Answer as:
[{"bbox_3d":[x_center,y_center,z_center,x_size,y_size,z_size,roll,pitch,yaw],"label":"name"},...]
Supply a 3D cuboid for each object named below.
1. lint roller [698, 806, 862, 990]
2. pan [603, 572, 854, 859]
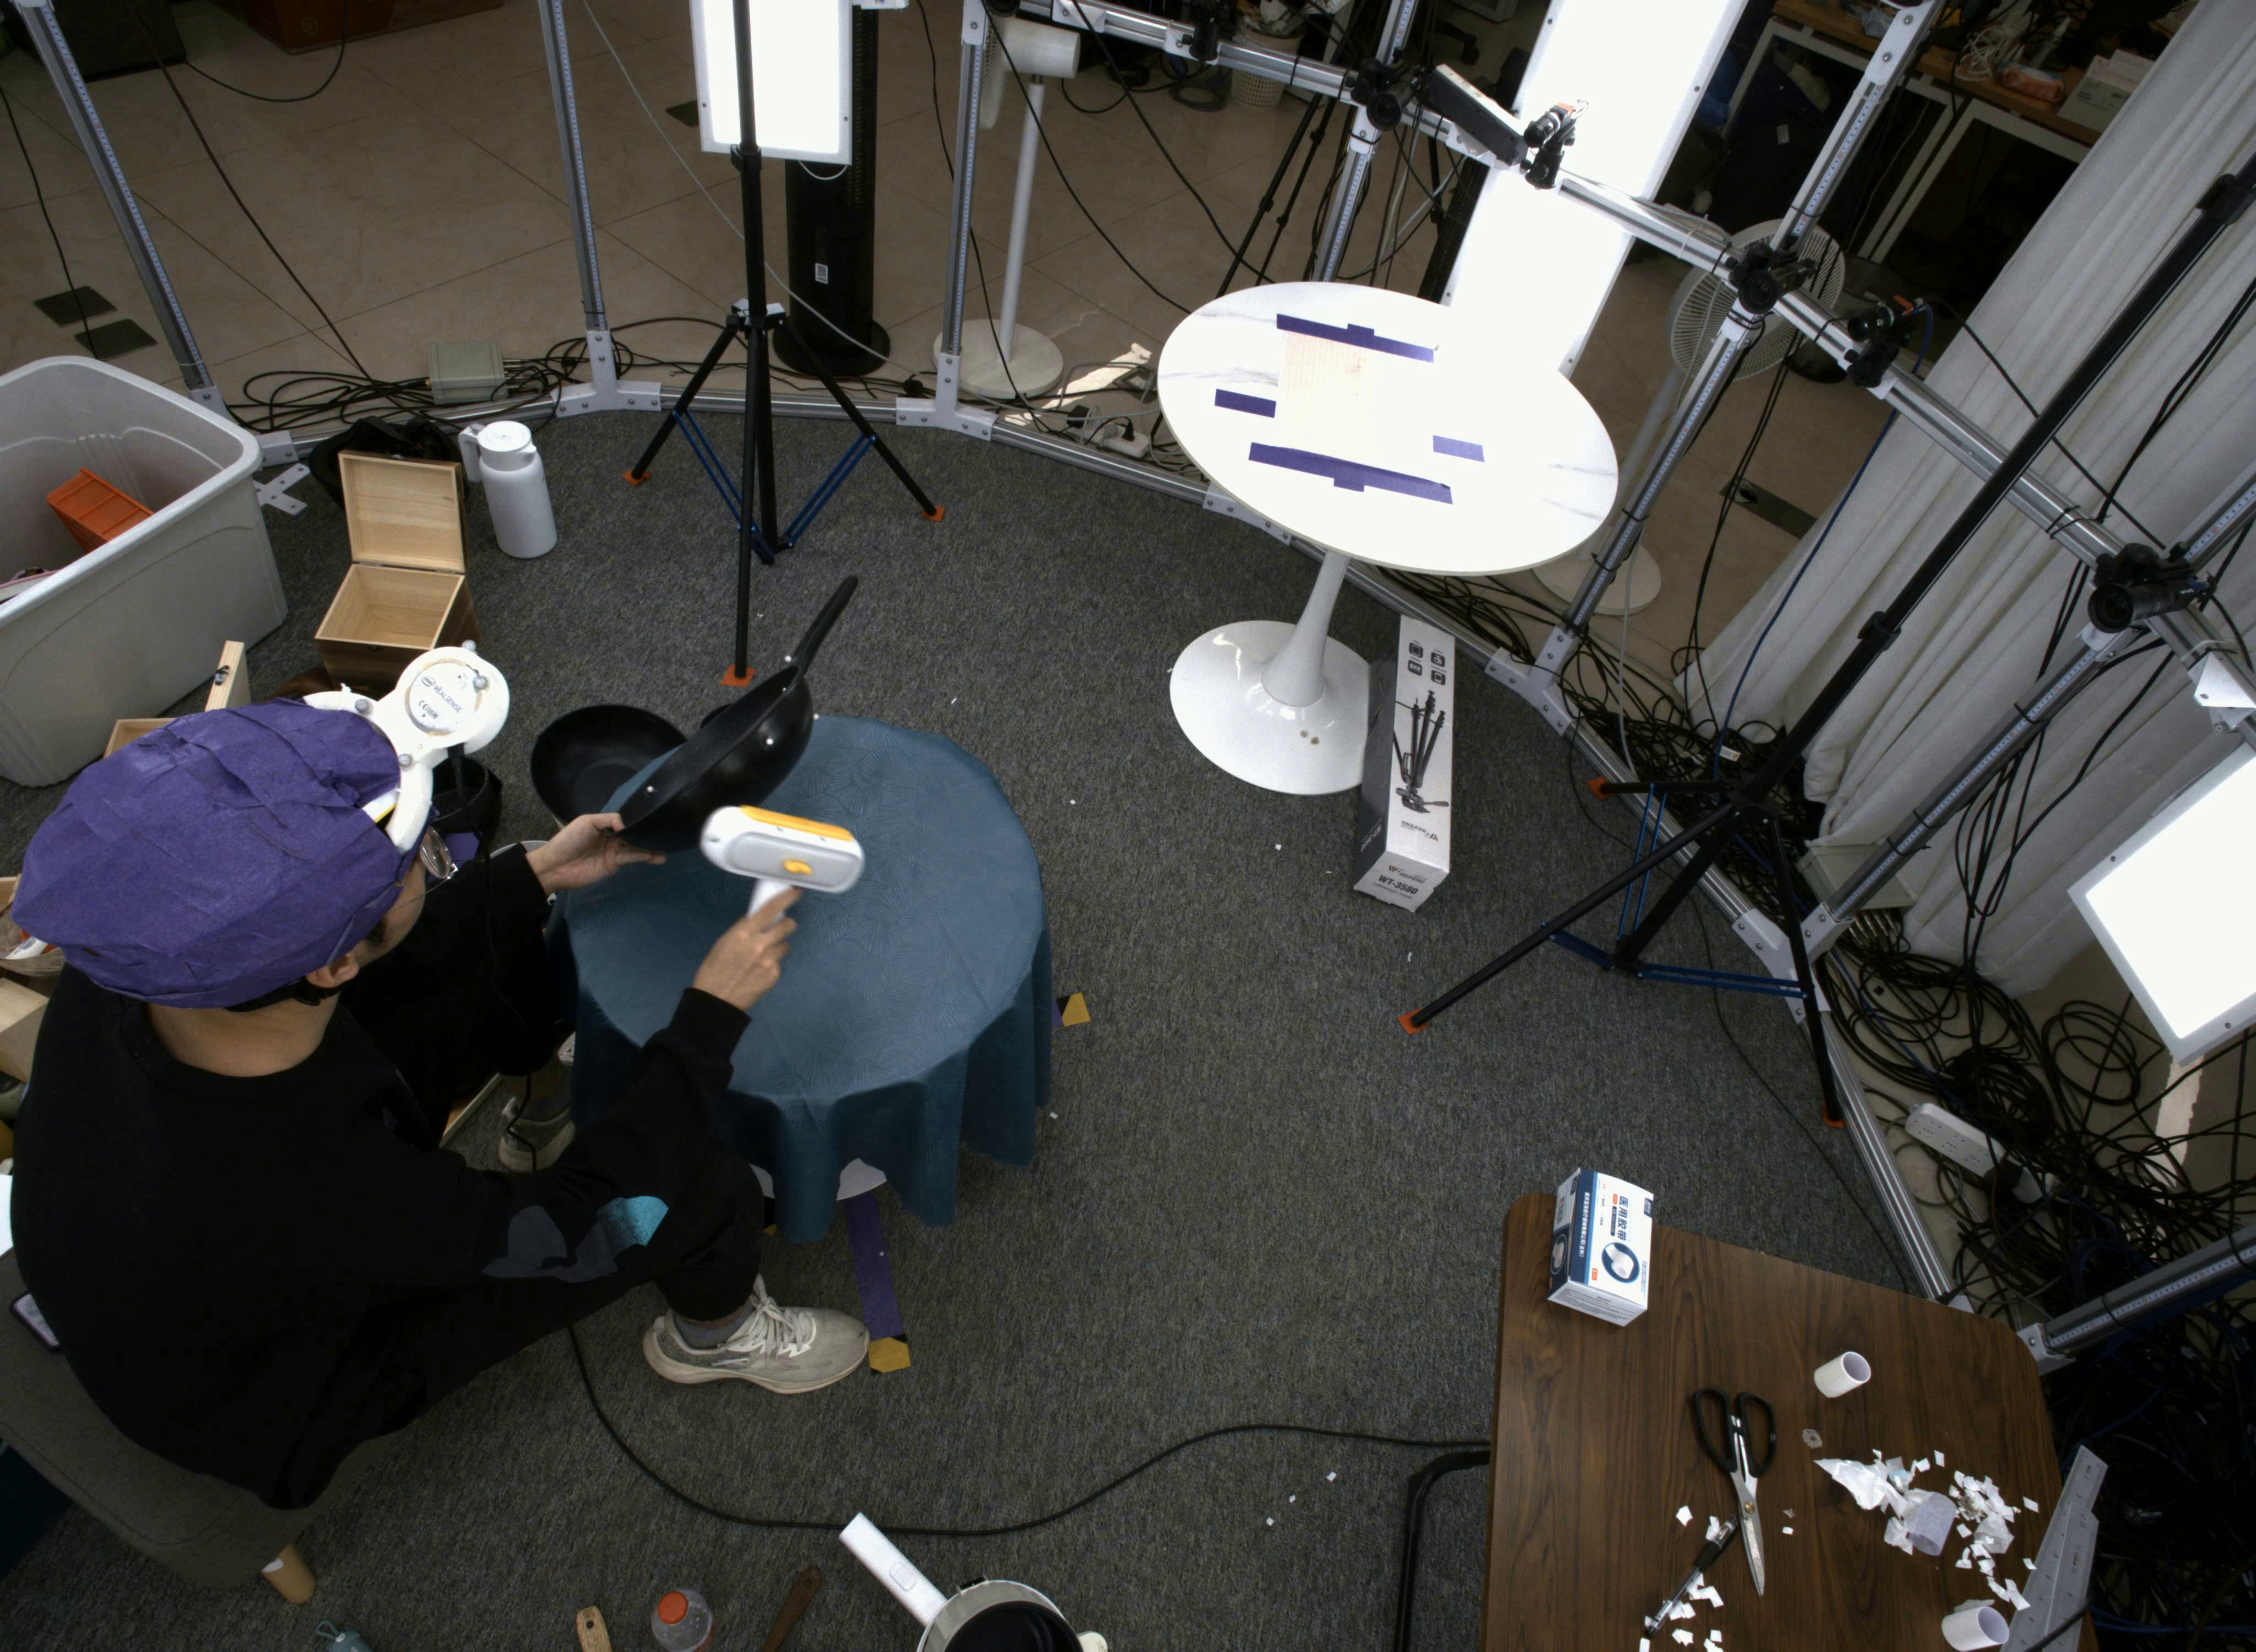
[{"bbox_3d":[-0.396,0.082,1.431,0.071,0.195,0.198,31,13,36],"label":"lint roller"},{"bbox_3d":[-0.457,-0.128,1.599,0.115,0.302,0.475,51,55,-23],"label":"pan"}]
